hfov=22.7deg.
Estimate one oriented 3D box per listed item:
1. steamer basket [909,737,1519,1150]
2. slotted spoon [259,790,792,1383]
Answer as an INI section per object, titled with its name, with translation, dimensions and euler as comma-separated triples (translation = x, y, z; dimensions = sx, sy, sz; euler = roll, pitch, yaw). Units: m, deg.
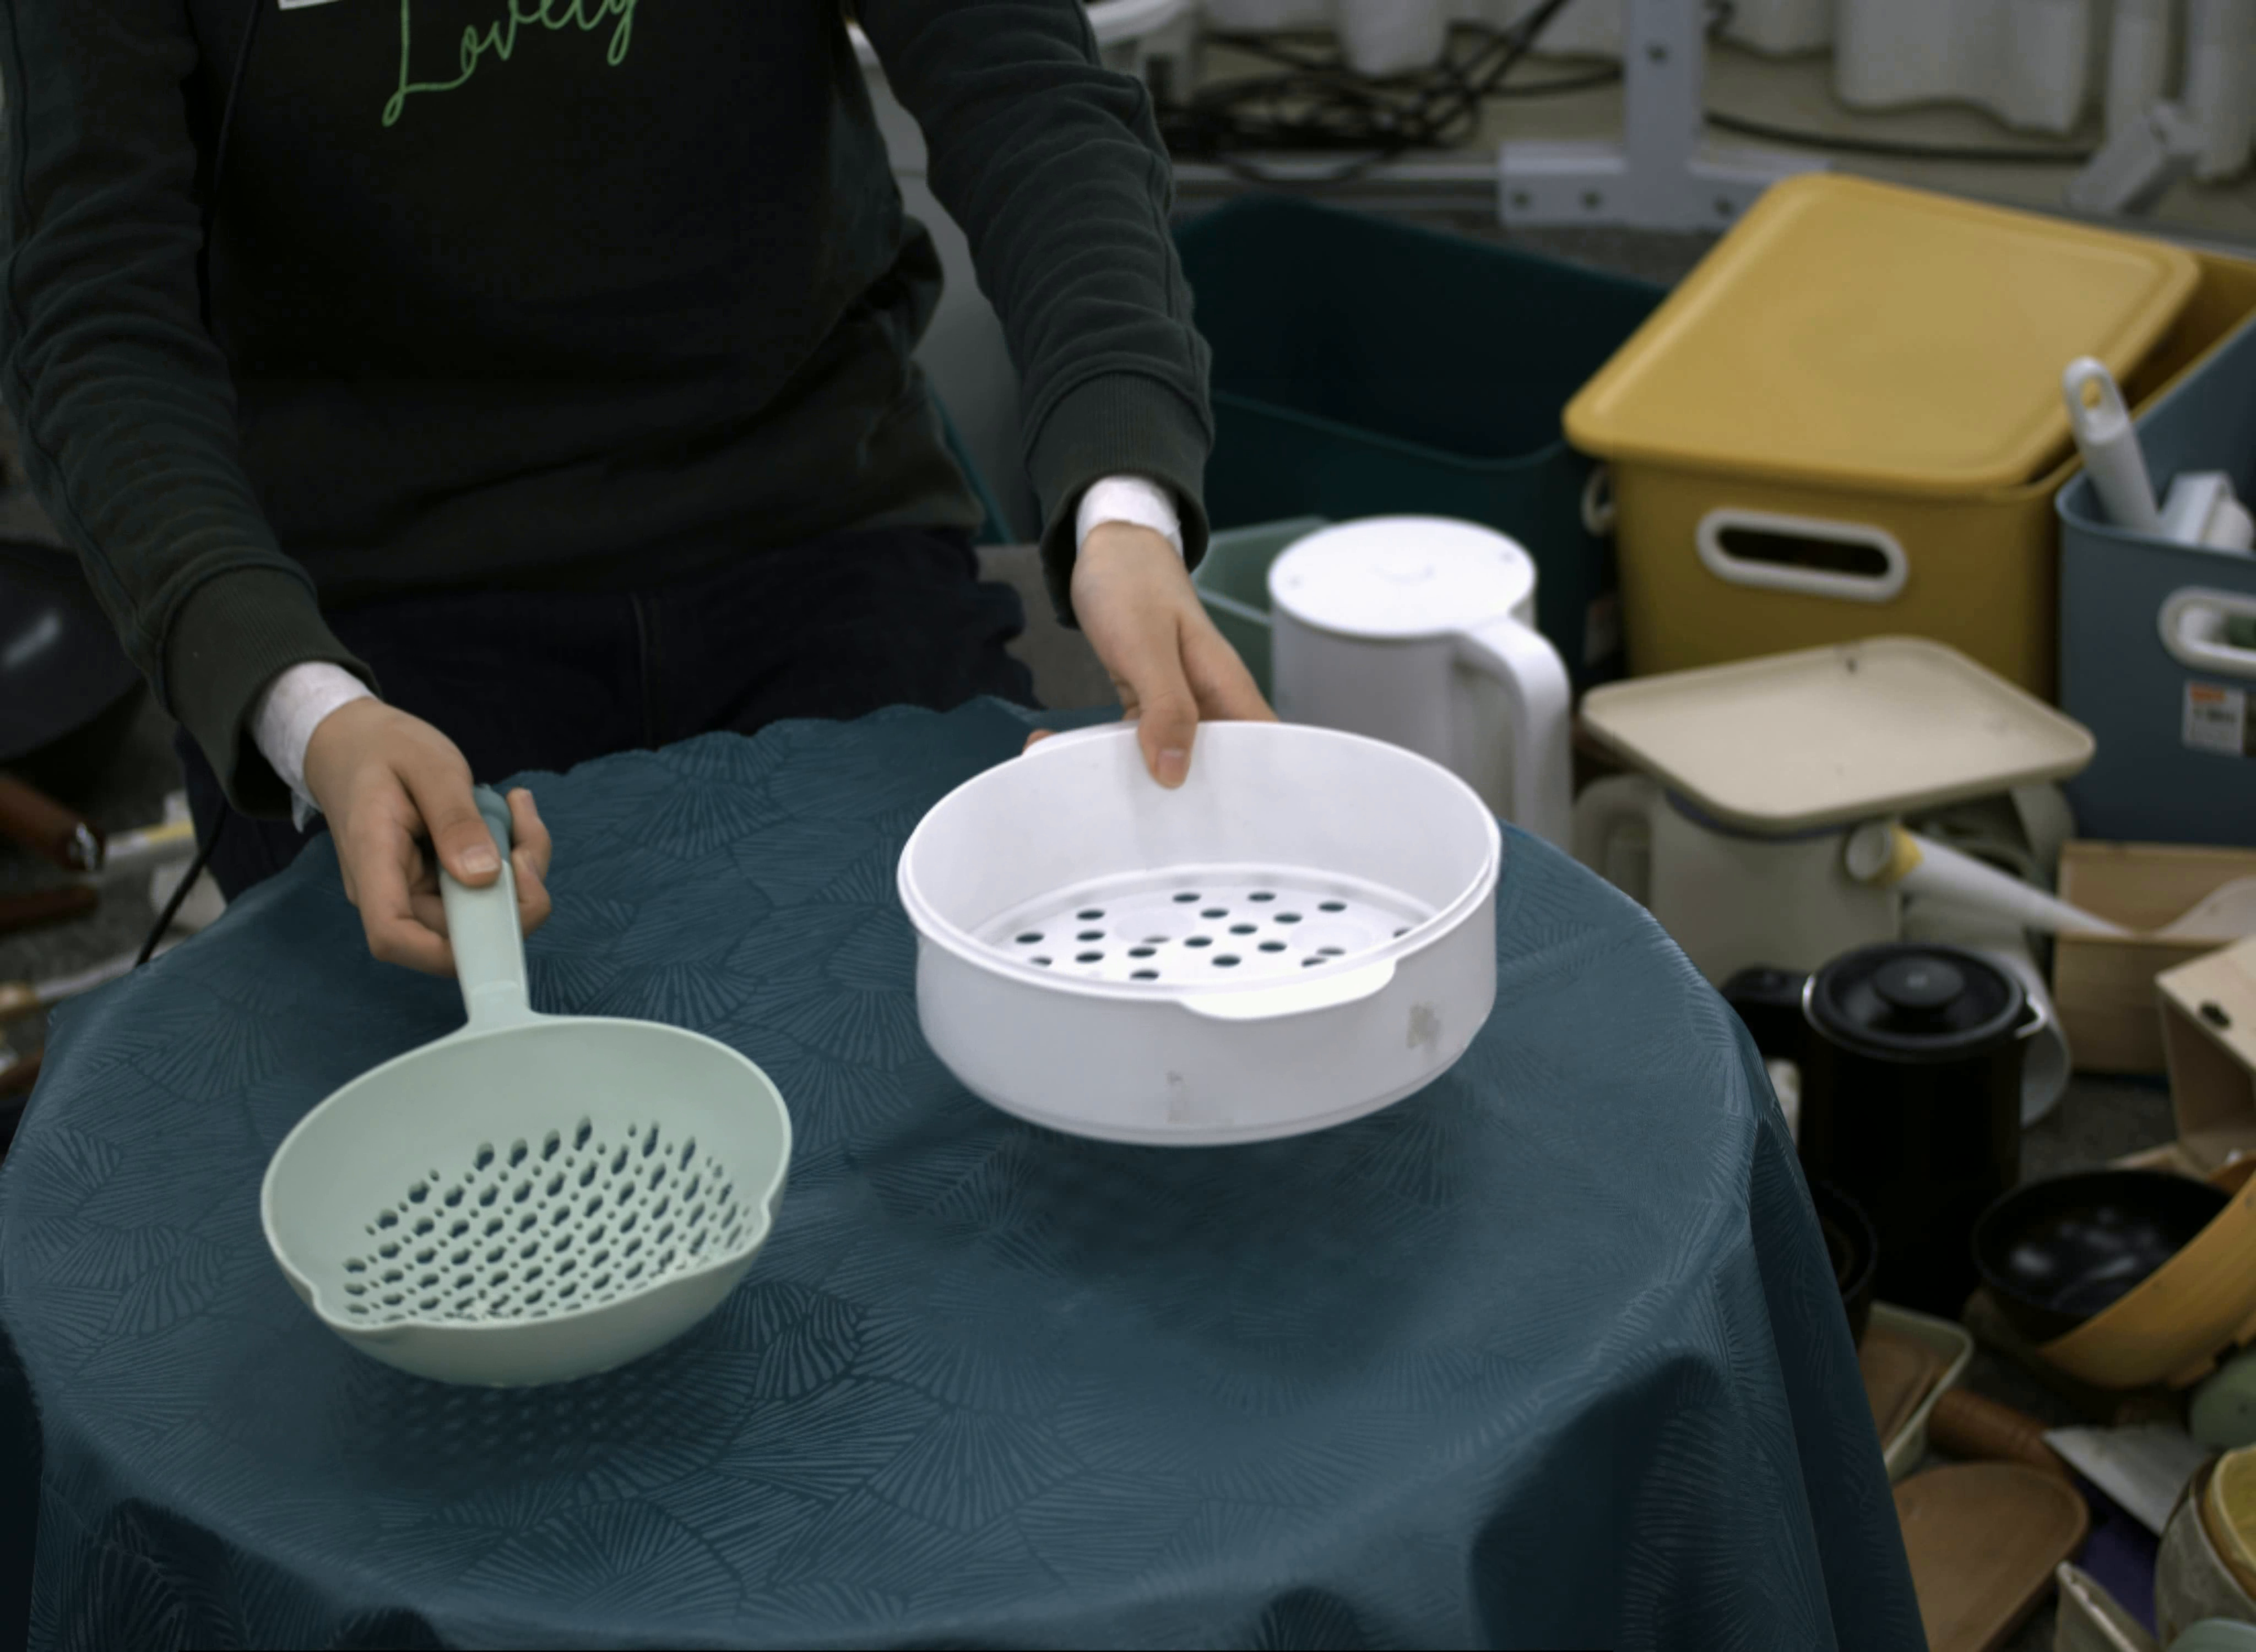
[steamer basket]
translation = 0.029, 0.039, 1.858
dimensions = 0.202, 0.068, 0.232
euler = -8, 24, -15
[slotted spoon]
translation = -0.205, 0.069, 1.851
dimensions = 0.169, 0.074, 0.364
euler = -10, 37, -7
